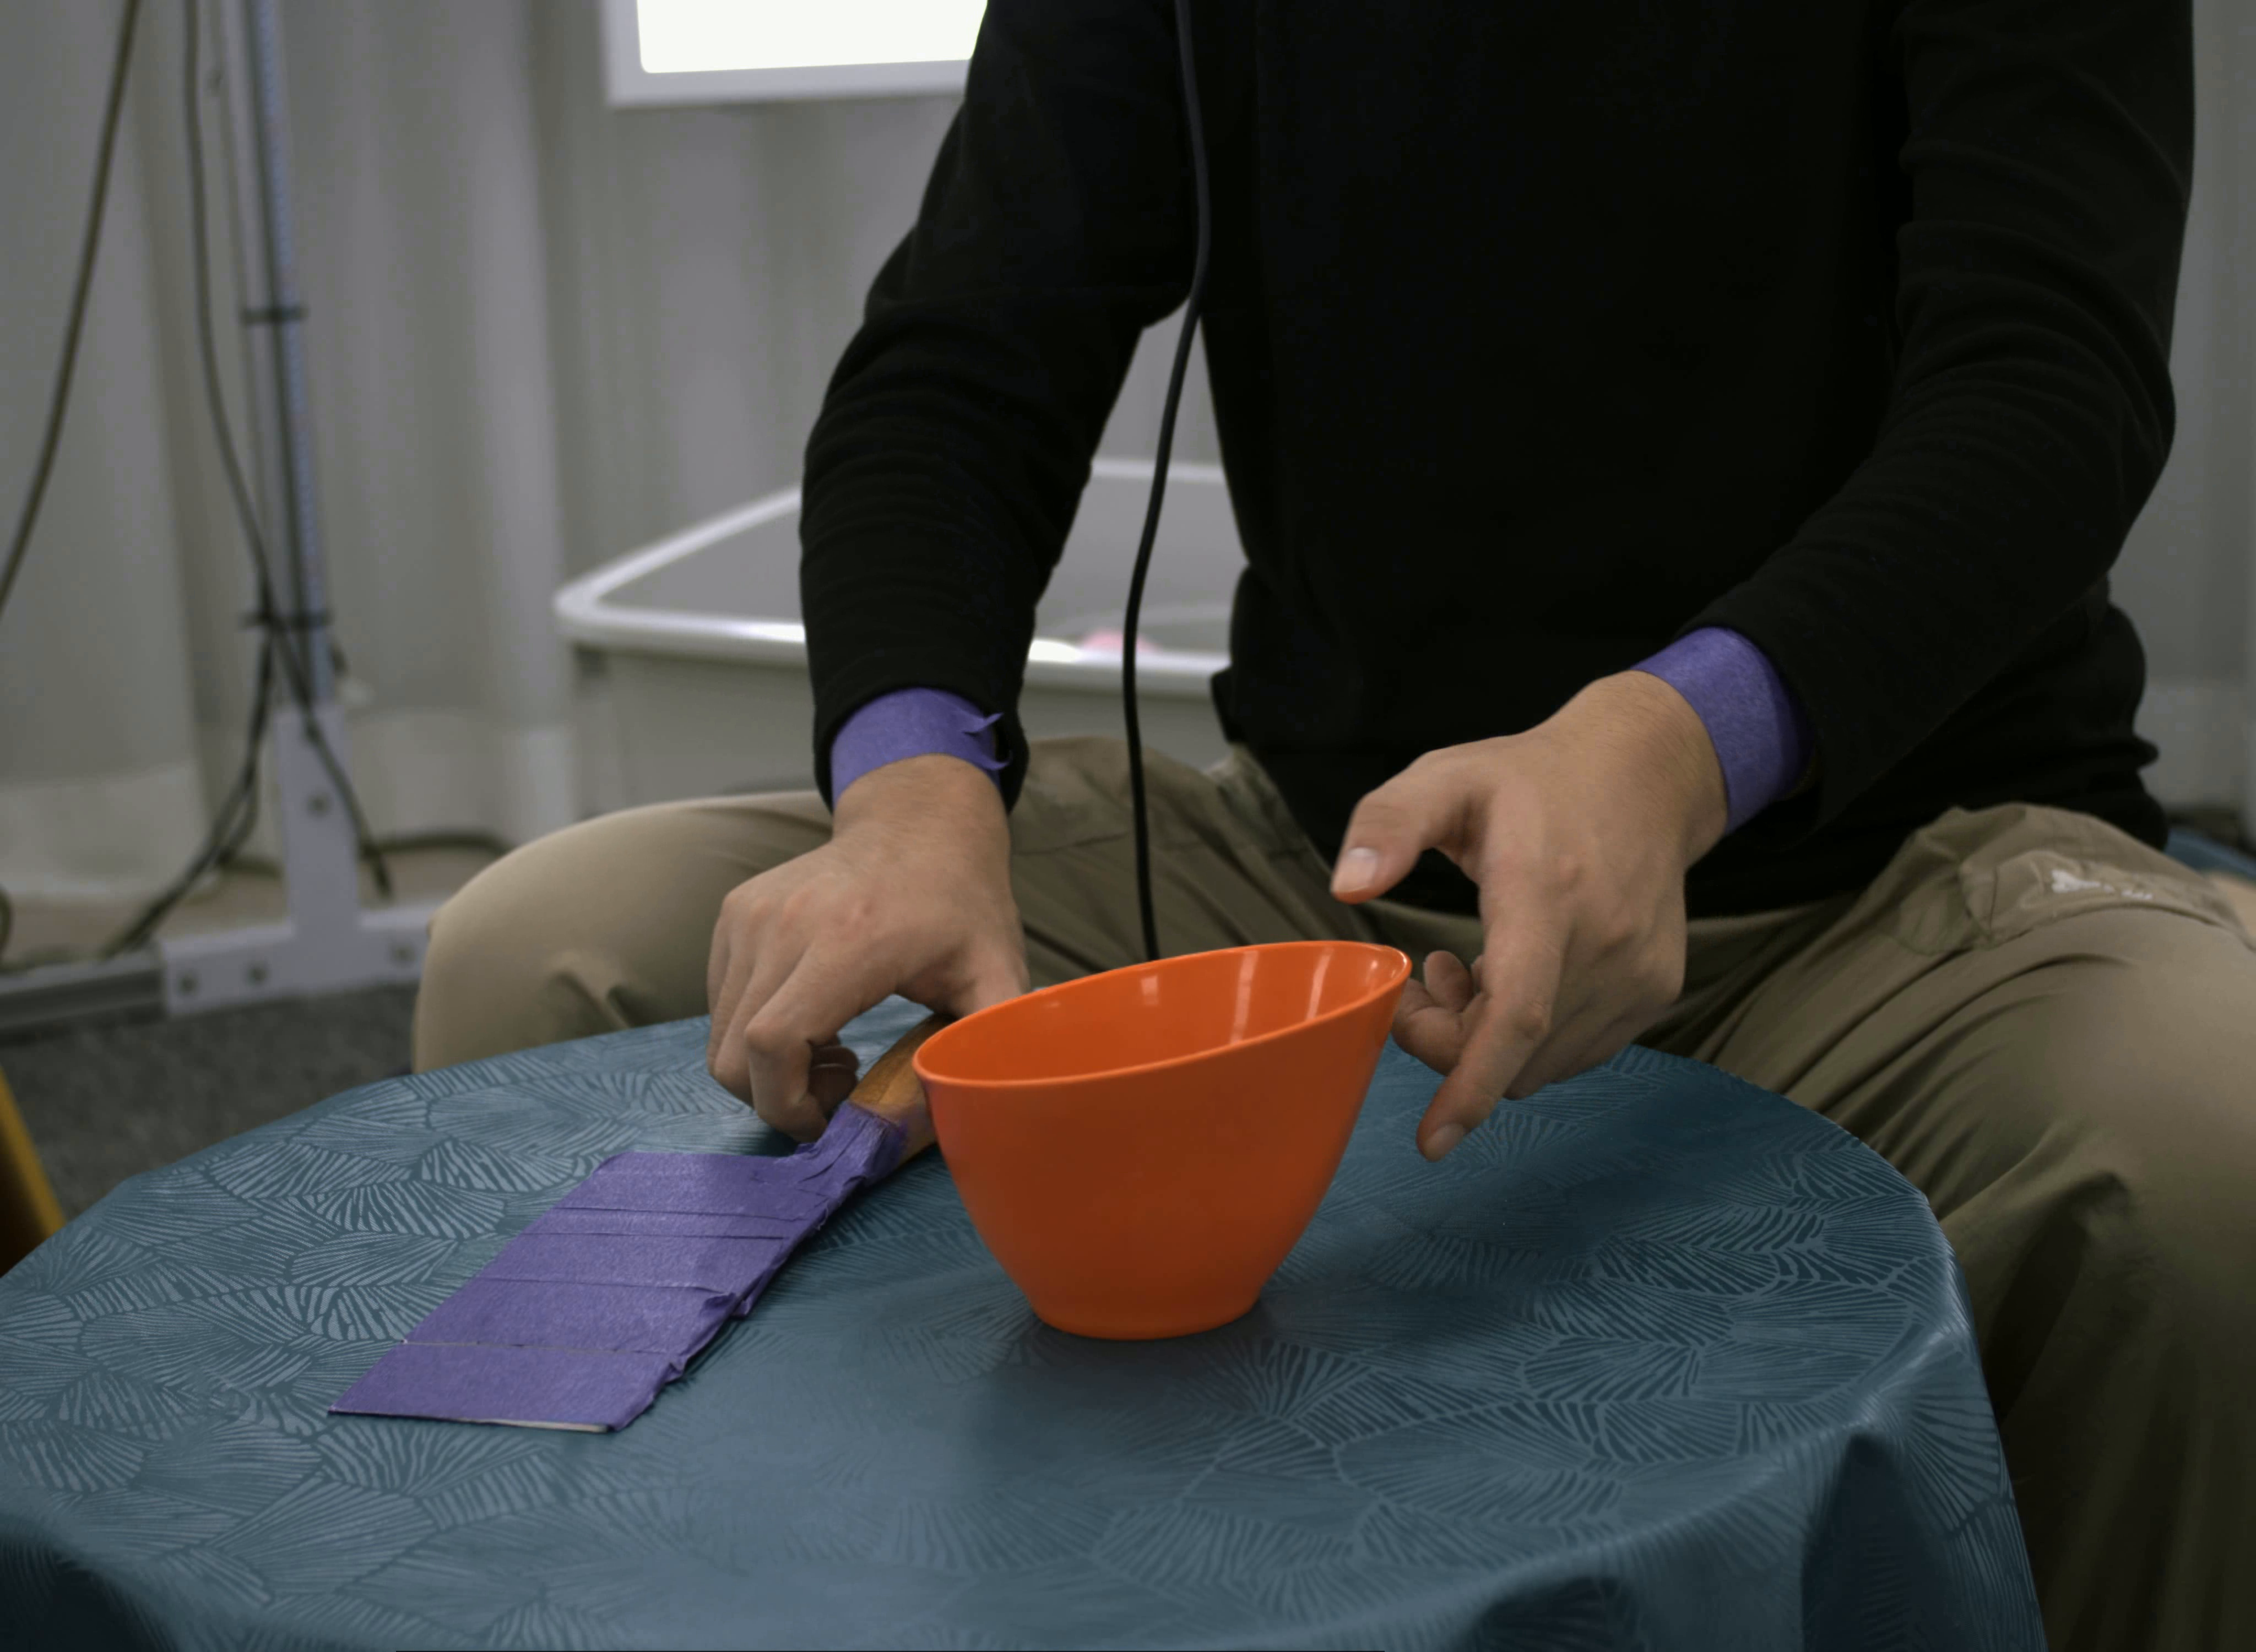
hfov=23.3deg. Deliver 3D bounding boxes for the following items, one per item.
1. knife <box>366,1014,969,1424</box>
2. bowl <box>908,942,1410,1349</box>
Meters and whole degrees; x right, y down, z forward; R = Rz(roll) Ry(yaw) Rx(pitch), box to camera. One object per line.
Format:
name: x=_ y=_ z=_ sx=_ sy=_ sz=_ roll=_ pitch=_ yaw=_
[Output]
knife: x=-0.136 y=0.117 z=1.680 sx=0.104 sy=0.032 sz=0.316 roll=3 pitch=16 yaw=18
bowl: x=0.011 y=0.094 z=1.596 sx=0.147 sy=0.104 sz=0.149 roll=-4 pitch=15 yaw=1
